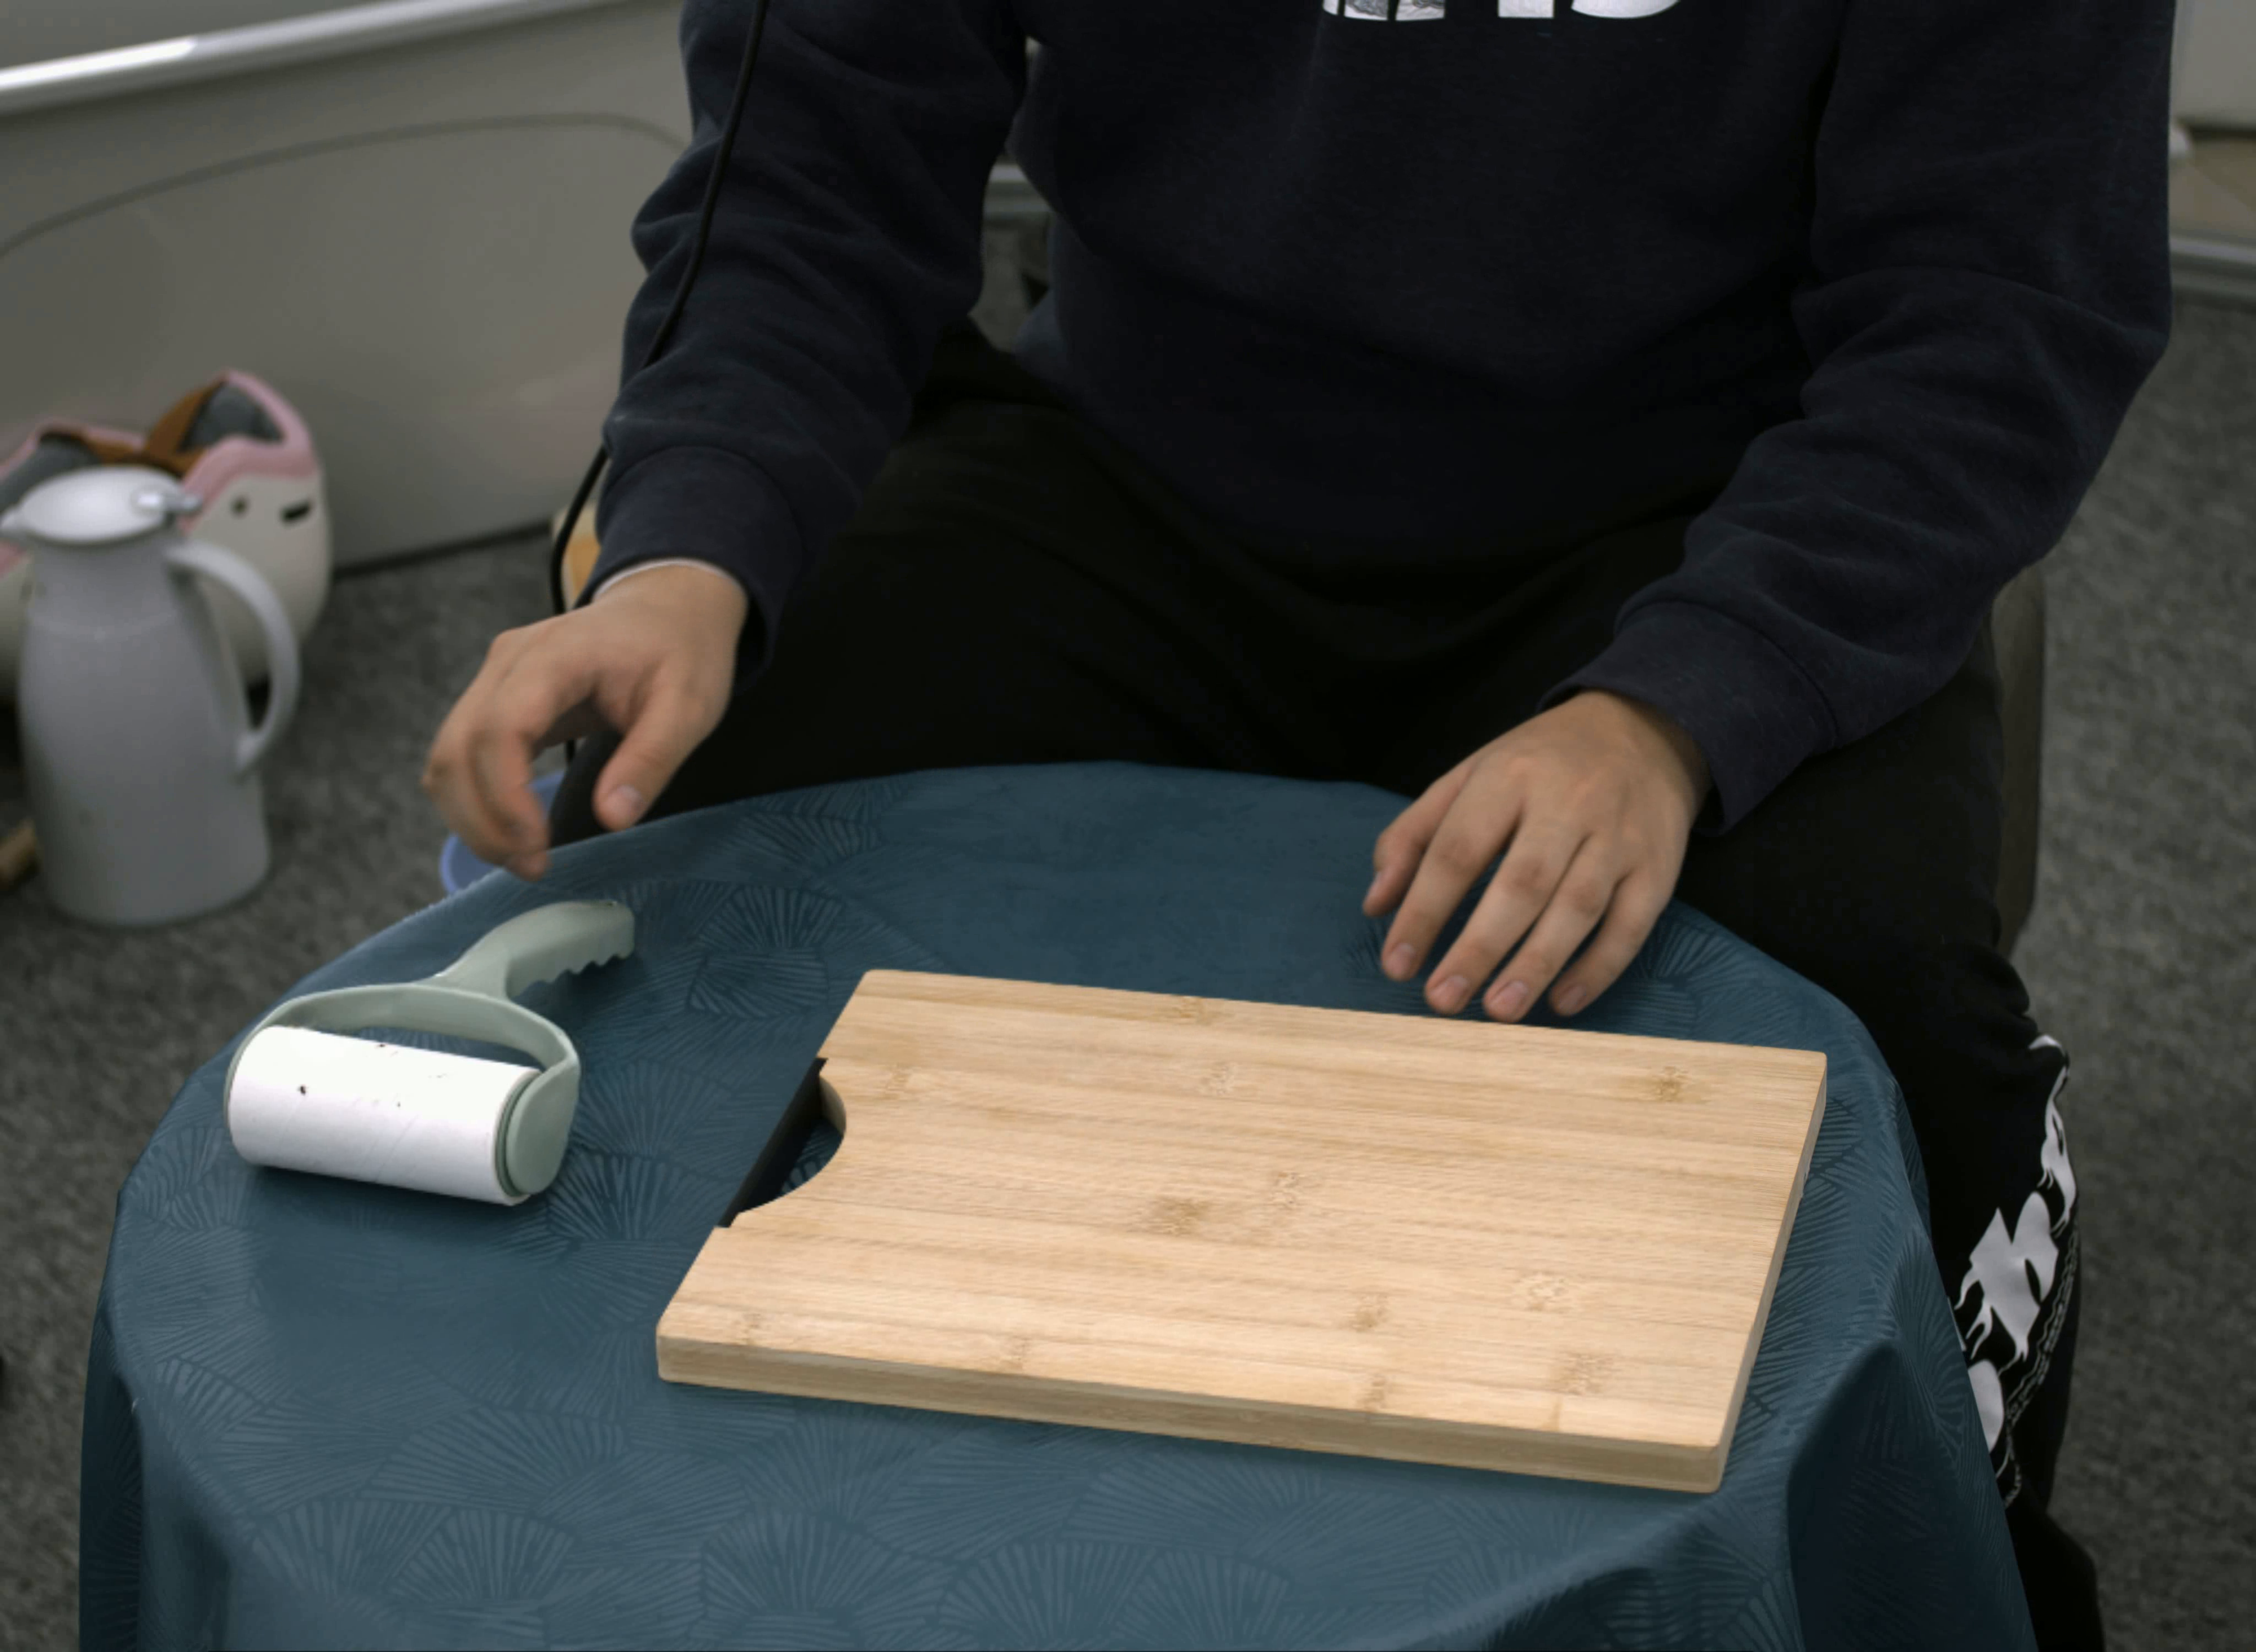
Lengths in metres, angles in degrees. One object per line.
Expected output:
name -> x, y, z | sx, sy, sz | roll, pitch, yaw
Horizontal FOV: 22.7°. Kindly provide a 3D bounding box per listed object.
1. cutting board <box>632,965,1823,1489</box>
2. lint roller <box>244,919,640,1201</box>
cutting board -> 0.038, 0.126, 1.836 | 0.346, 0.023, 0.255 | 4, 28, 13
lint roller -> -0.213, 0.068, 1.942 | 0.116, 0.048, 0.201 | 5, 26, 20
